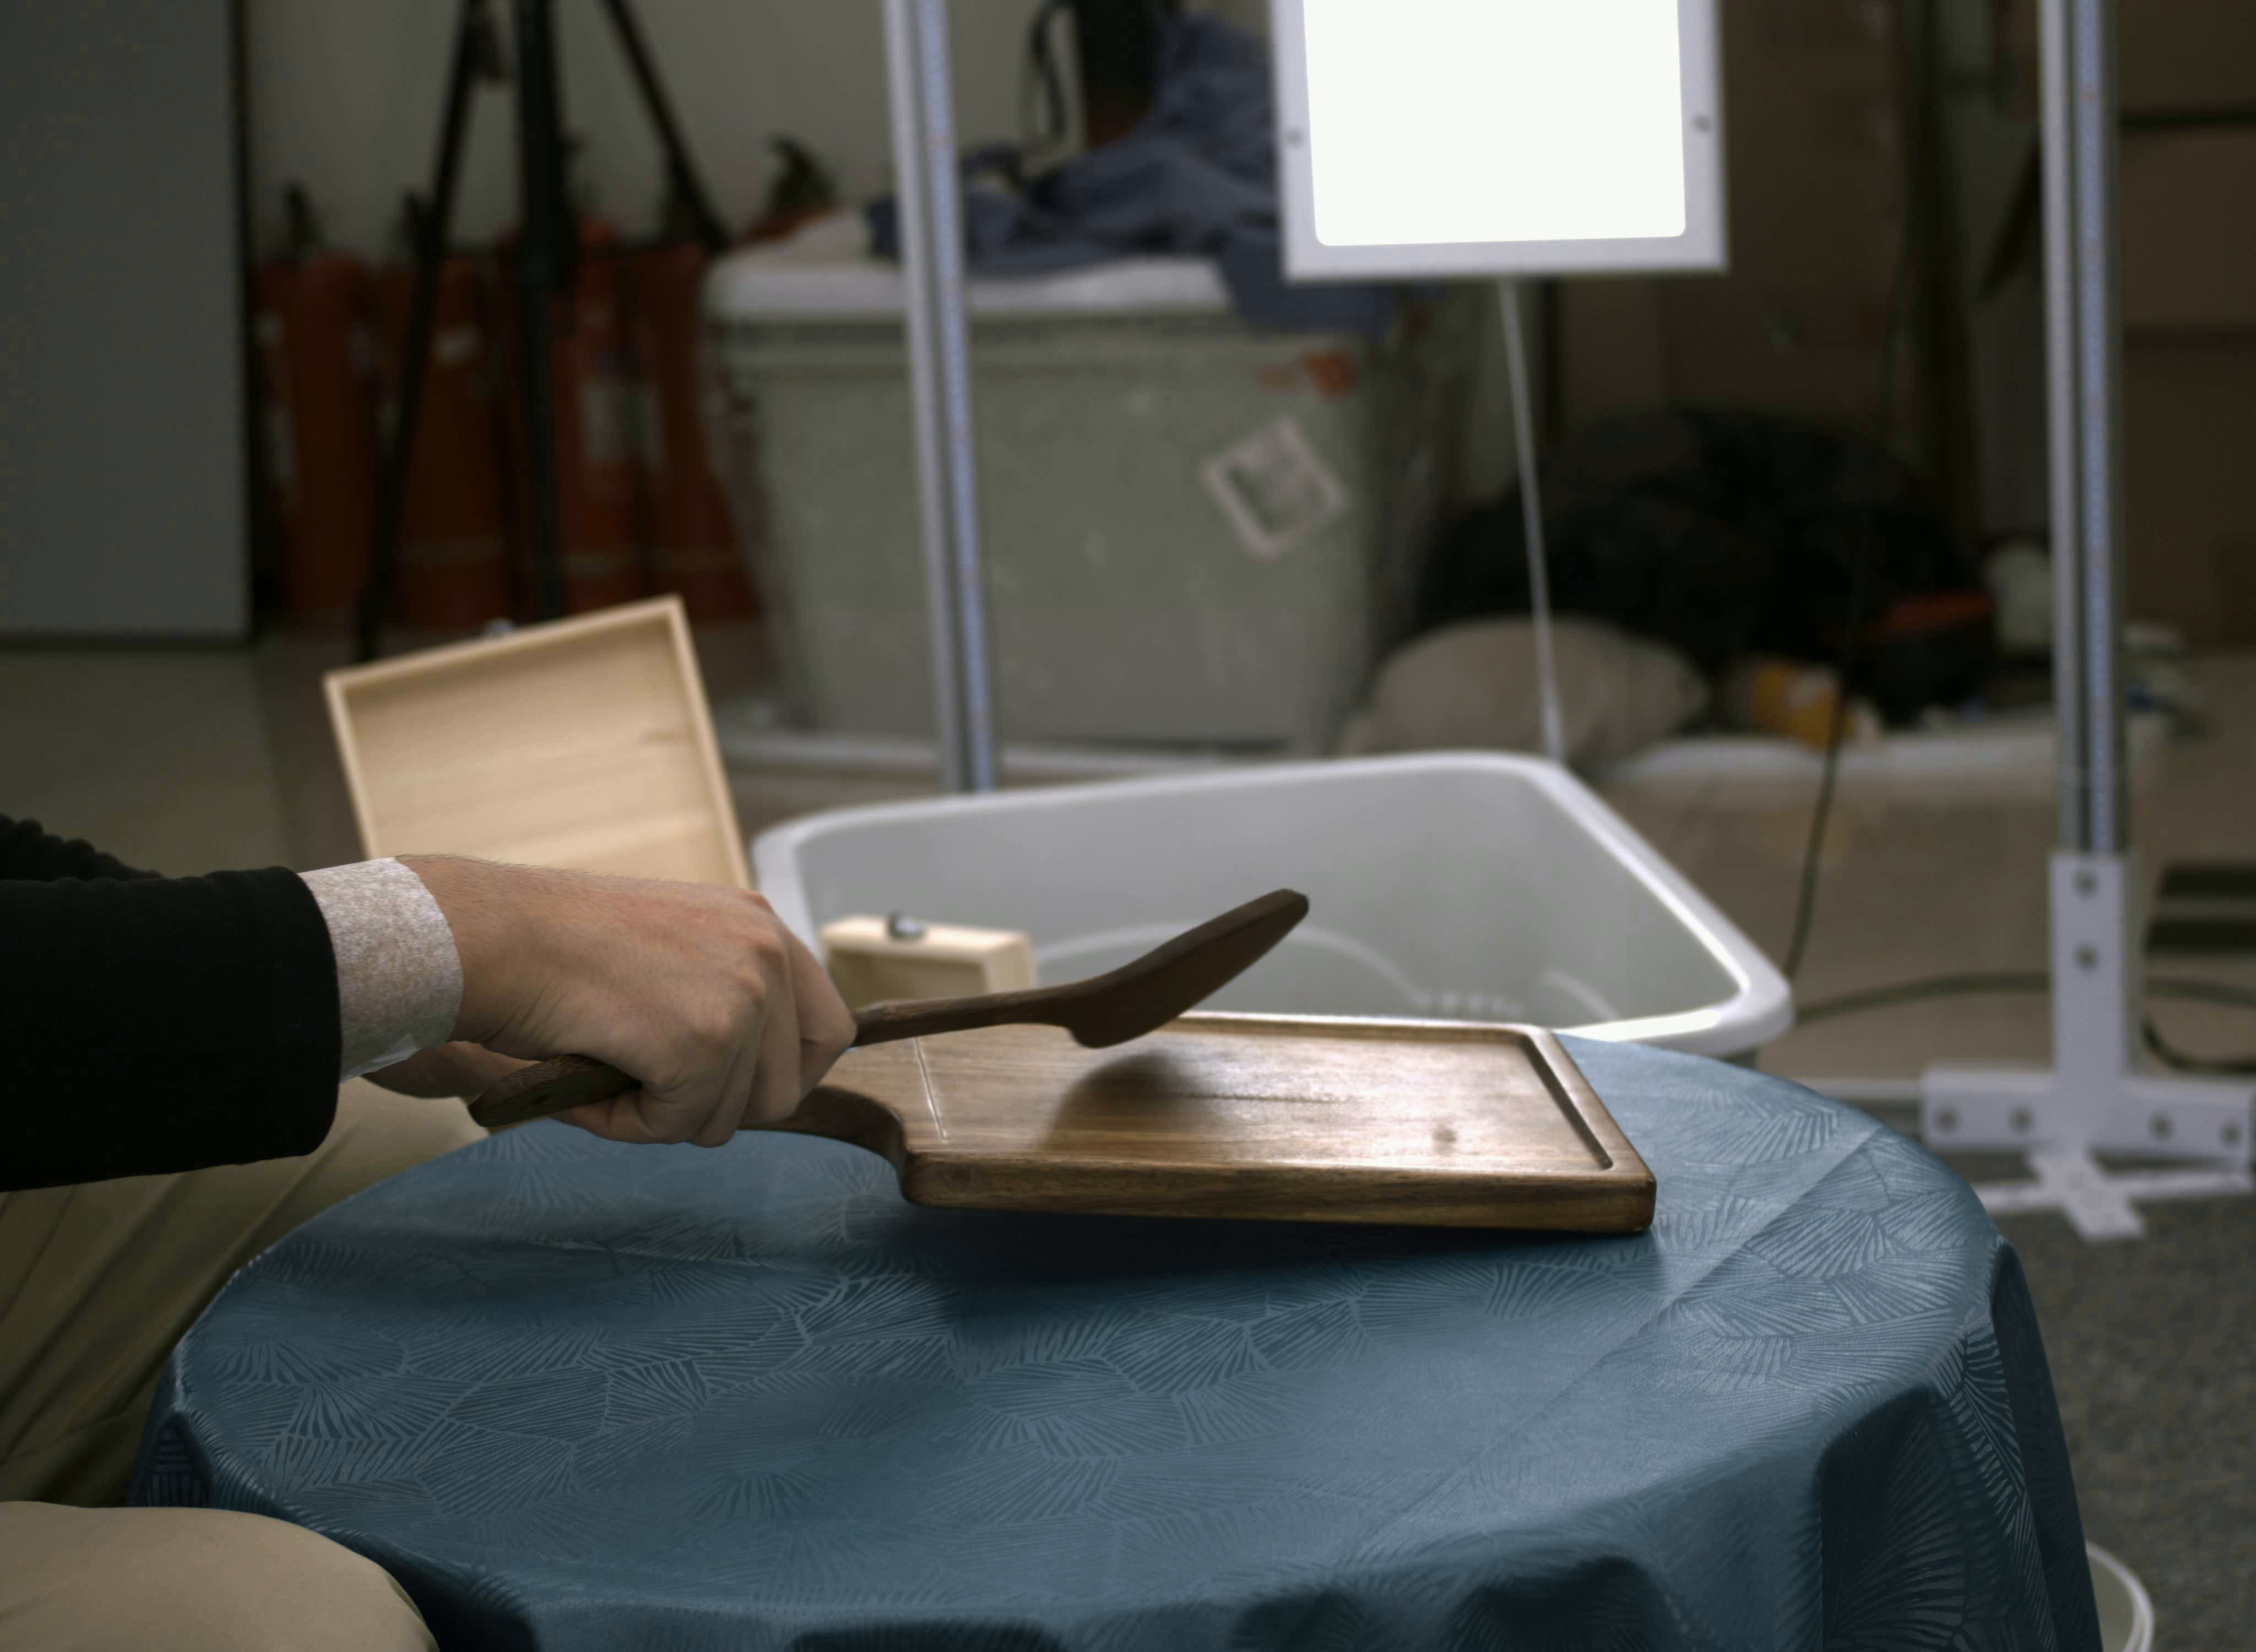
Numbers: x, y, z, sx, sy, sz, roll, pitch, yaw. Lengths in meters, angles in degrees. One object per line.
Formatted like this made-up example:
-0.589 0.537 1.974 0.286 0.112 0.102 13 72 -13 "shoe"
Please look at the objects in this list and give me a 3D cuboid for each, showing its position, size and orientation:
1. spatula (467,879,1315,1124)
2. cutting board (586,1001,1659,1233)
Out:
-0.074 0.063 1.791 0.376 0.016 0.098 -7 -26 -49 "spatula"
-0.009 0.096 1.881 0.349 0.023 0.201 2 13 -6 "cutting board"
